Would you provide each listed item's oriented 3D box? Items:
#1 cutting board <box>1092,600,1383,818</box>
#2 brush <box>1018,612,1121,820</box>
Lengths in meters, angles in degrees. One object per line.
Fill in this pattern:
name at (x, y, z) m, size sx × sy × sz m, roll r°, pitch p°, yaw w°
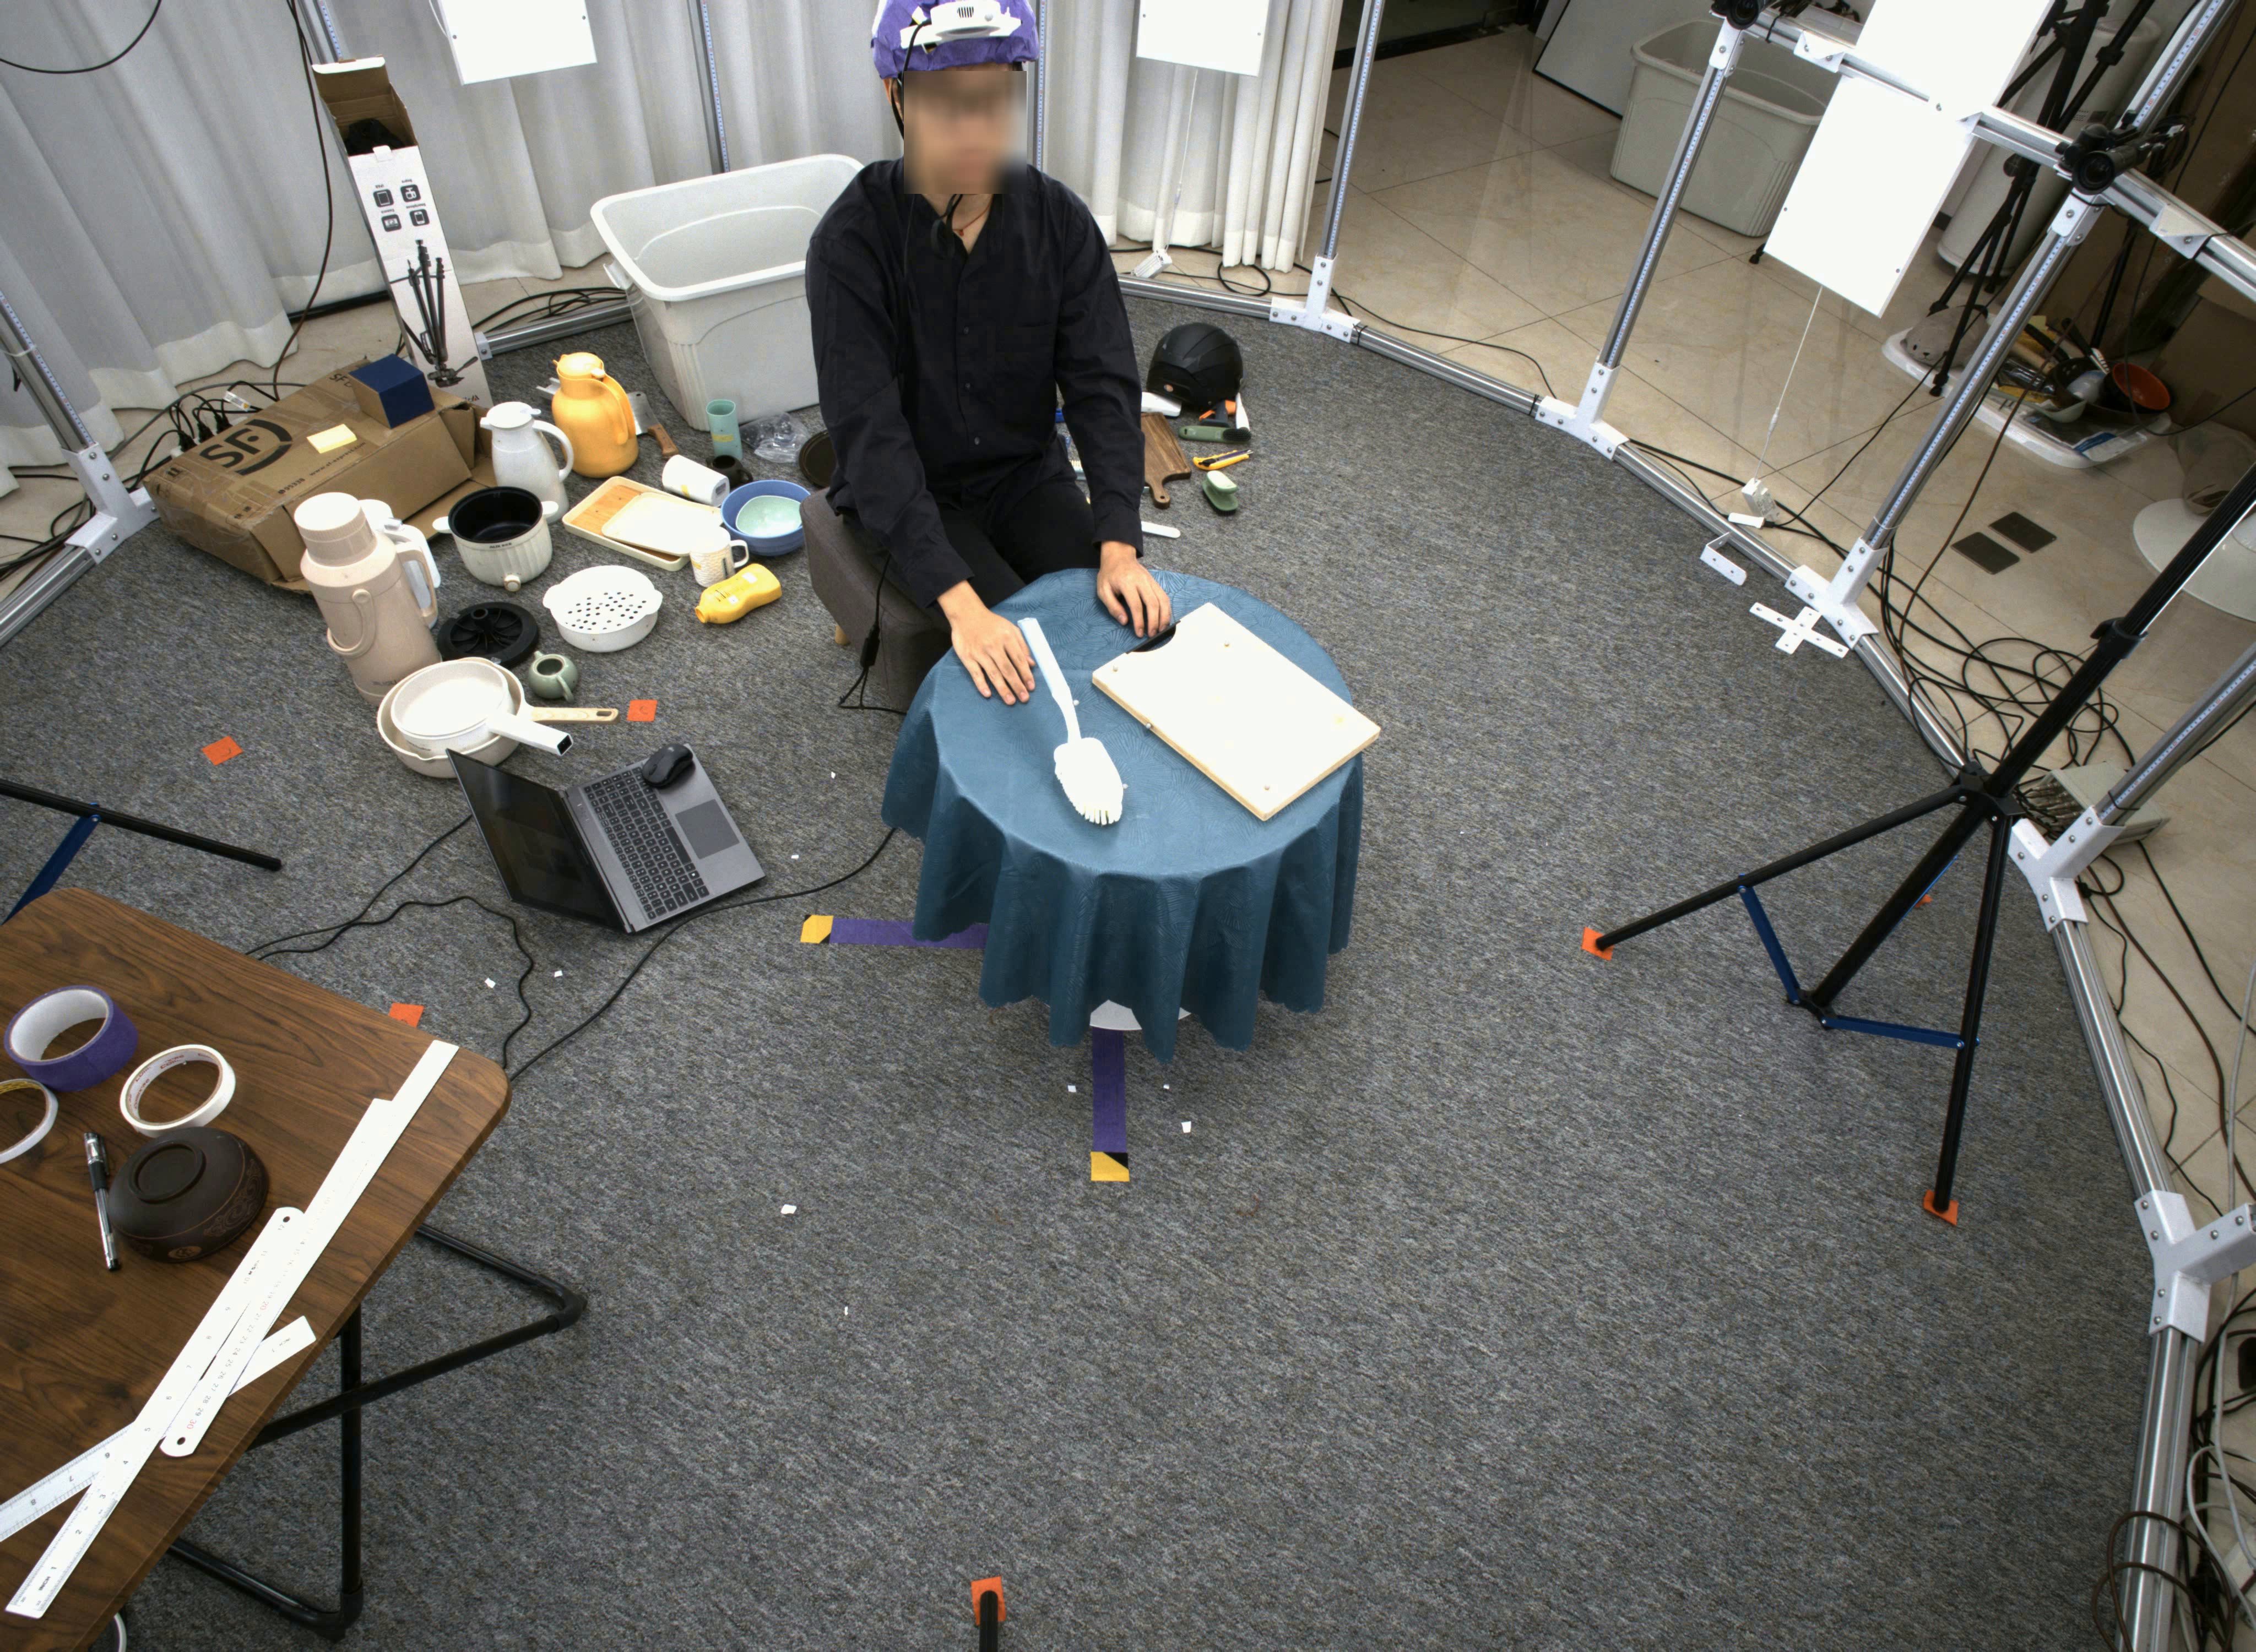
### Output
cutting board at (0.152, -0.174, 1.820) m, size 0.253 × 0.023 × 0.354 m, roll -35°, pitch 61°, yaw -30°
brush at (-0.083, -0.146, 1.735) m, size 0.082 × 0.083 × 0.331 m, roll 8°, pitch 50°, yaw -49°
